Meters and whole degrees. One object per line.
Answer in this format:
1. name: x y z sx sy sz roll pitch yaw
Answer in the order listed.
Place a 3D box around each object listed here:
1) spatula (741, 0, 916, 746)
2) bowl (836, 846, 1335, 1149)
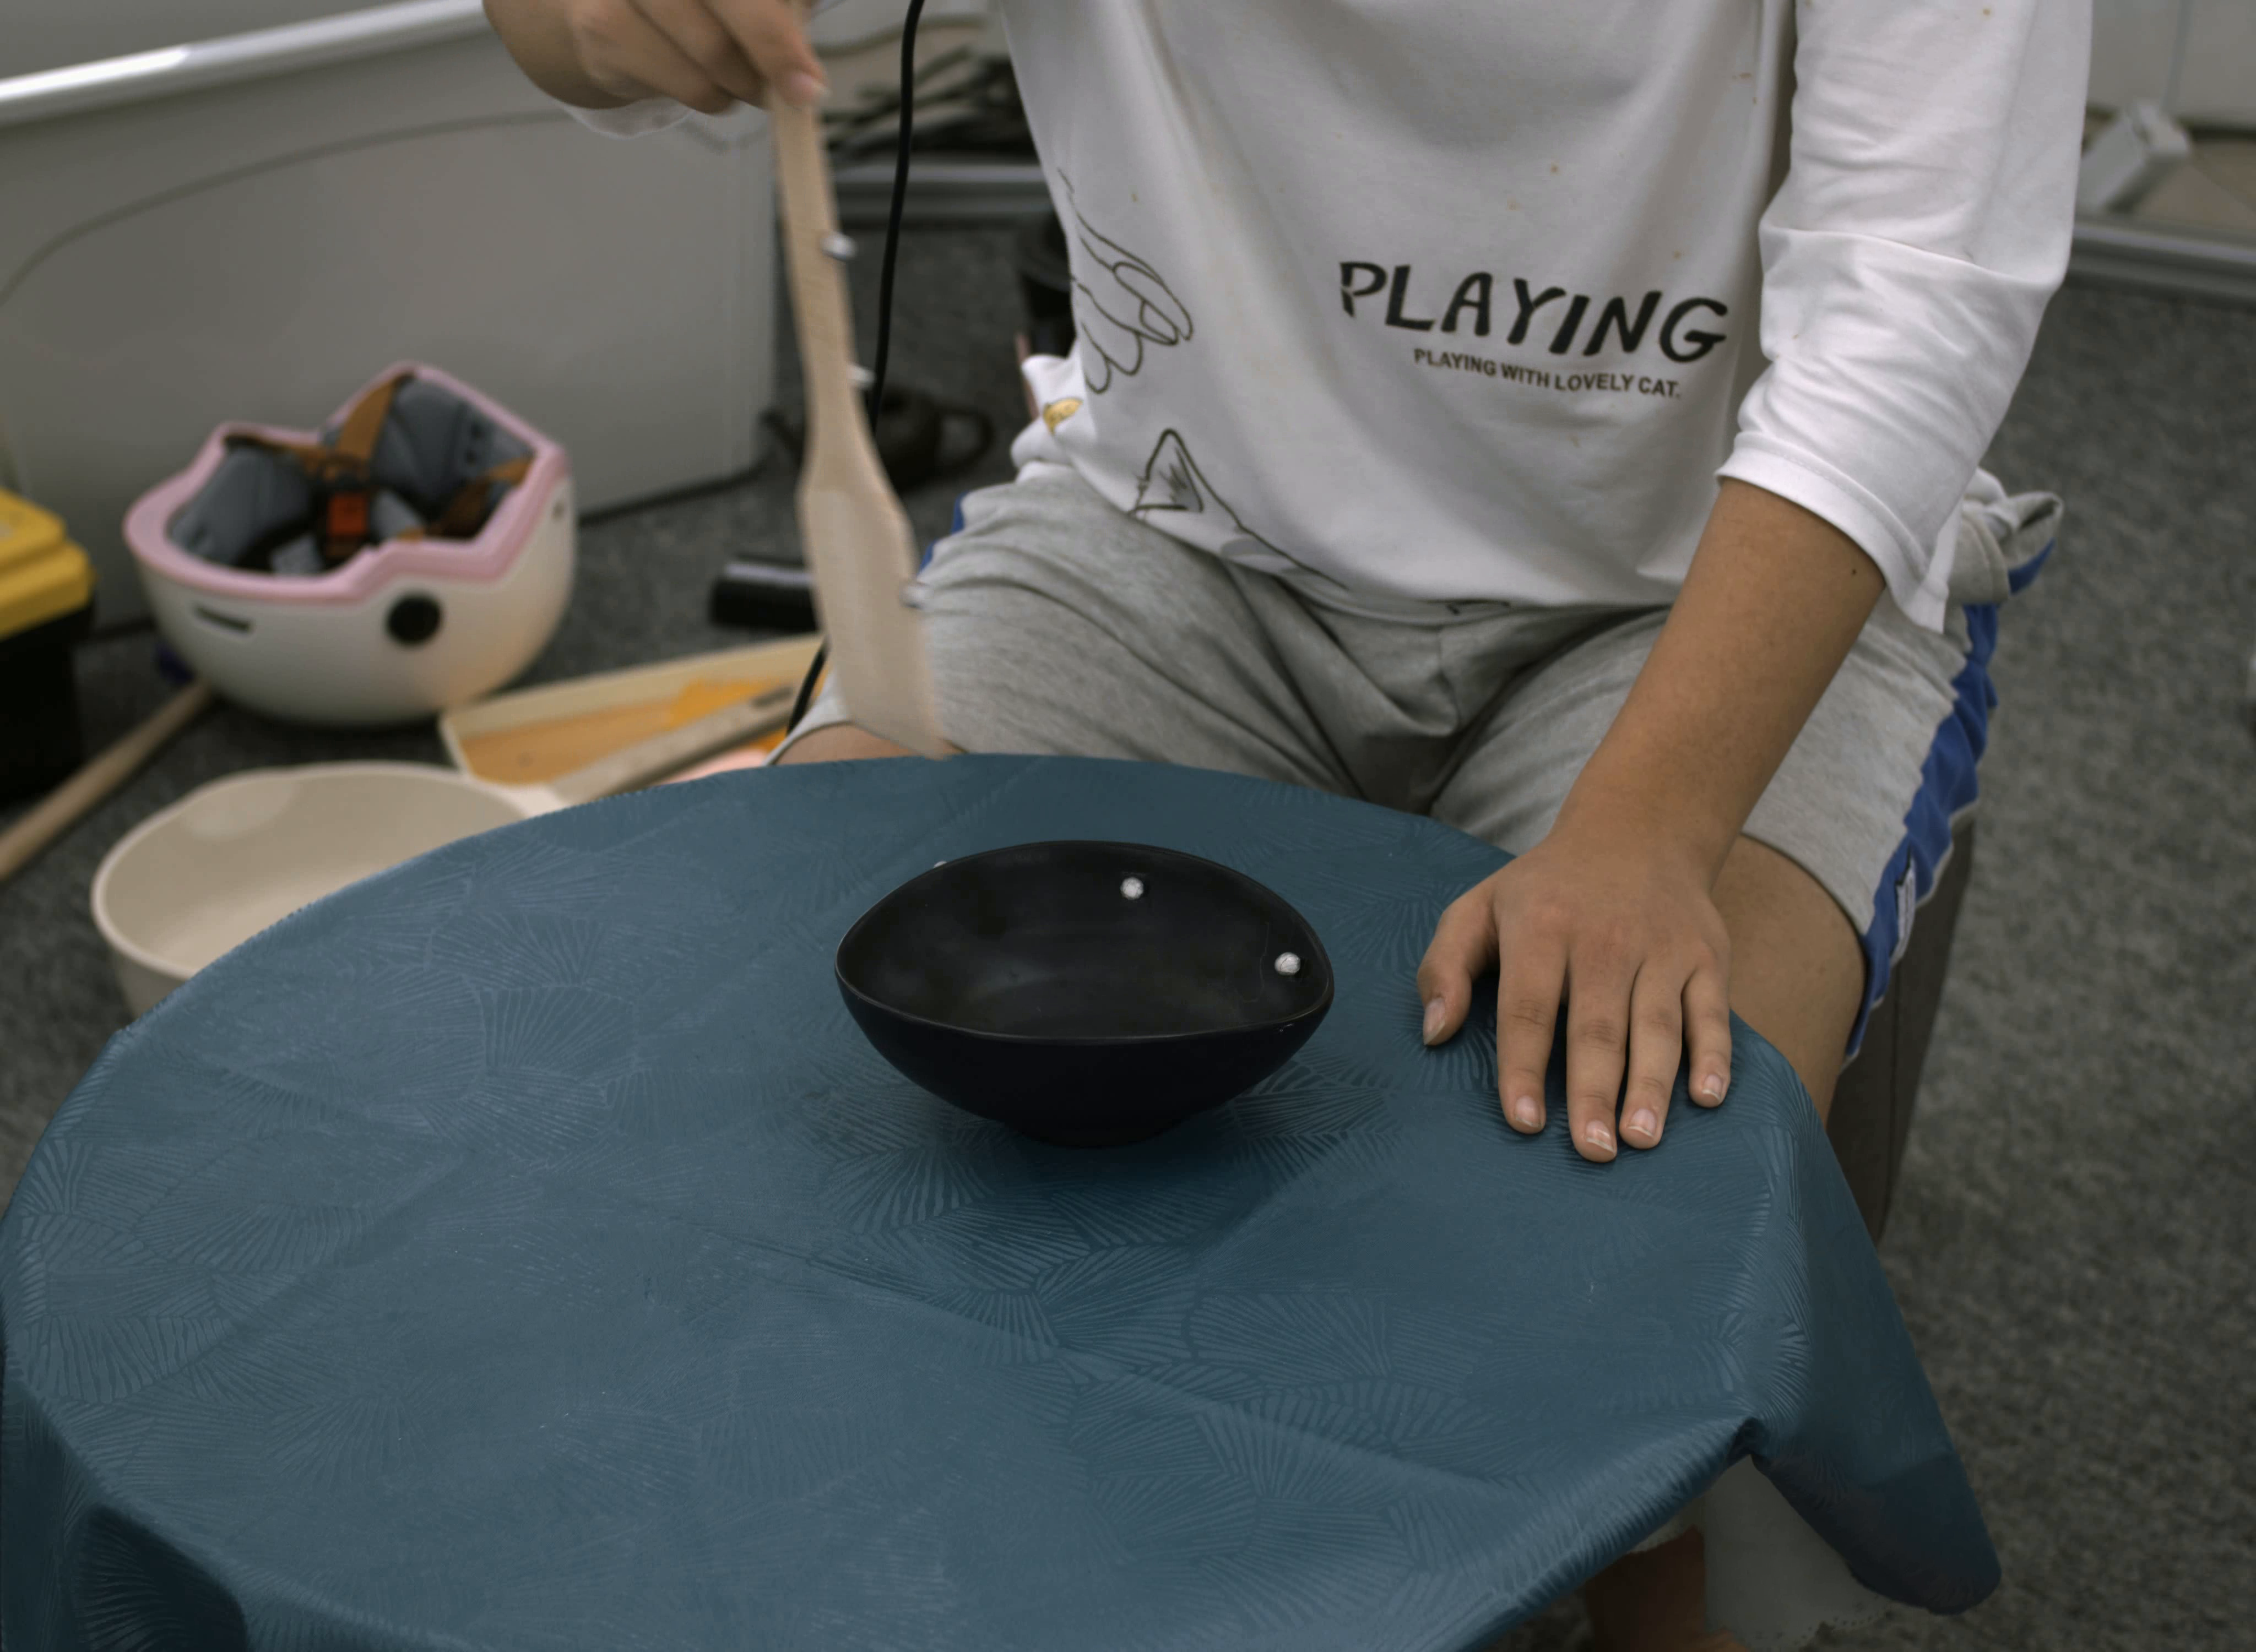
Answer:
1. spatula: -0.104 -0.169 1.817 0.011 0.292 0.072 -14 16 -24
2. bowl: -0.014 0.065 1.906 0.169 0.066 0.139 3 27 6
